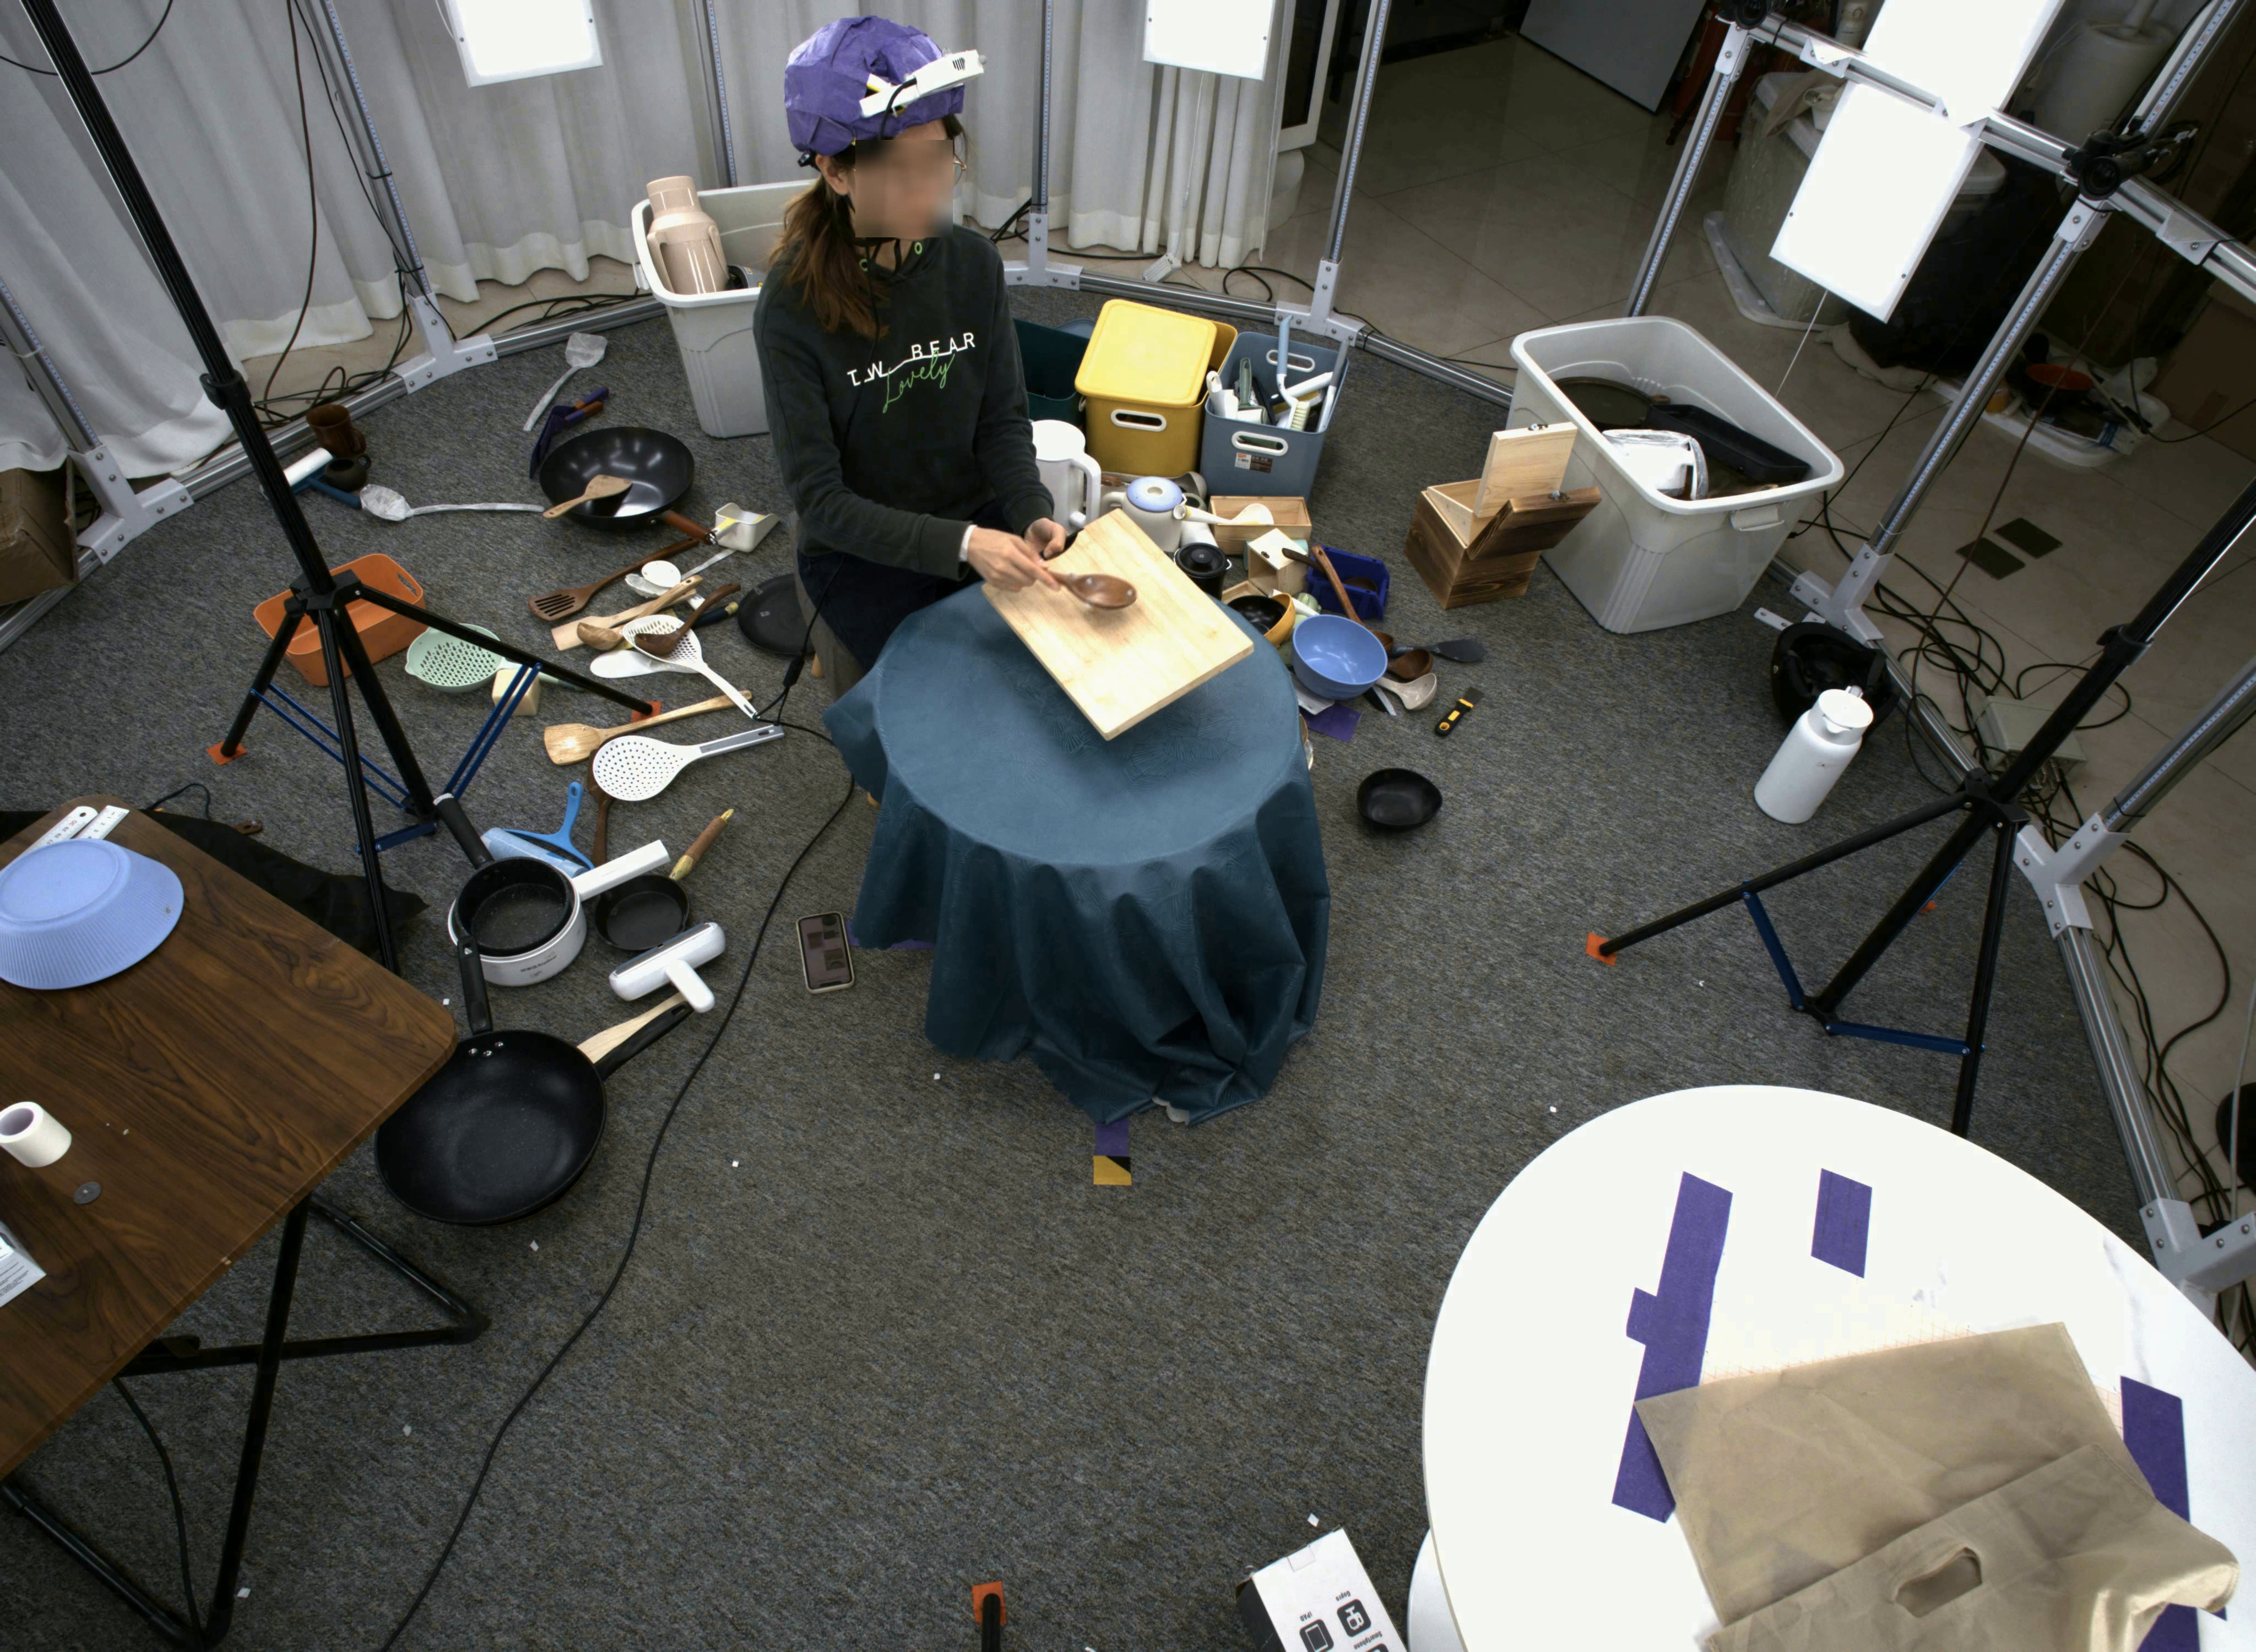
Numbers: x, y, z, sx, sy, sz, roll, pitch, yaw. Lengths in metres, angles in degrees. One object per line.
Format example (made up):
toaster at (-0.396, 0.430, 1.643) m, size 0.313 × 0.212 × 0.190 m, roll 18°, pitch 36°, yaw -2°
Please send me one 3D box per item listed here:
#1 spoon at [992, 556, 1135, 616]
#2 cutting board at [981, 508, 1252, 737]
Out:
spoon at (-0.091, -0.335, 1.783) m, size 0.217 × 0.017 × 0.077 m, roll 22°, pitch 46°, yaw 16°
cutting board at (-0.022, -0.294, 1.813) m, size 0.251 × 0.023 × 0.356 m, roll -32°, pitch 56°, yaw -13°
